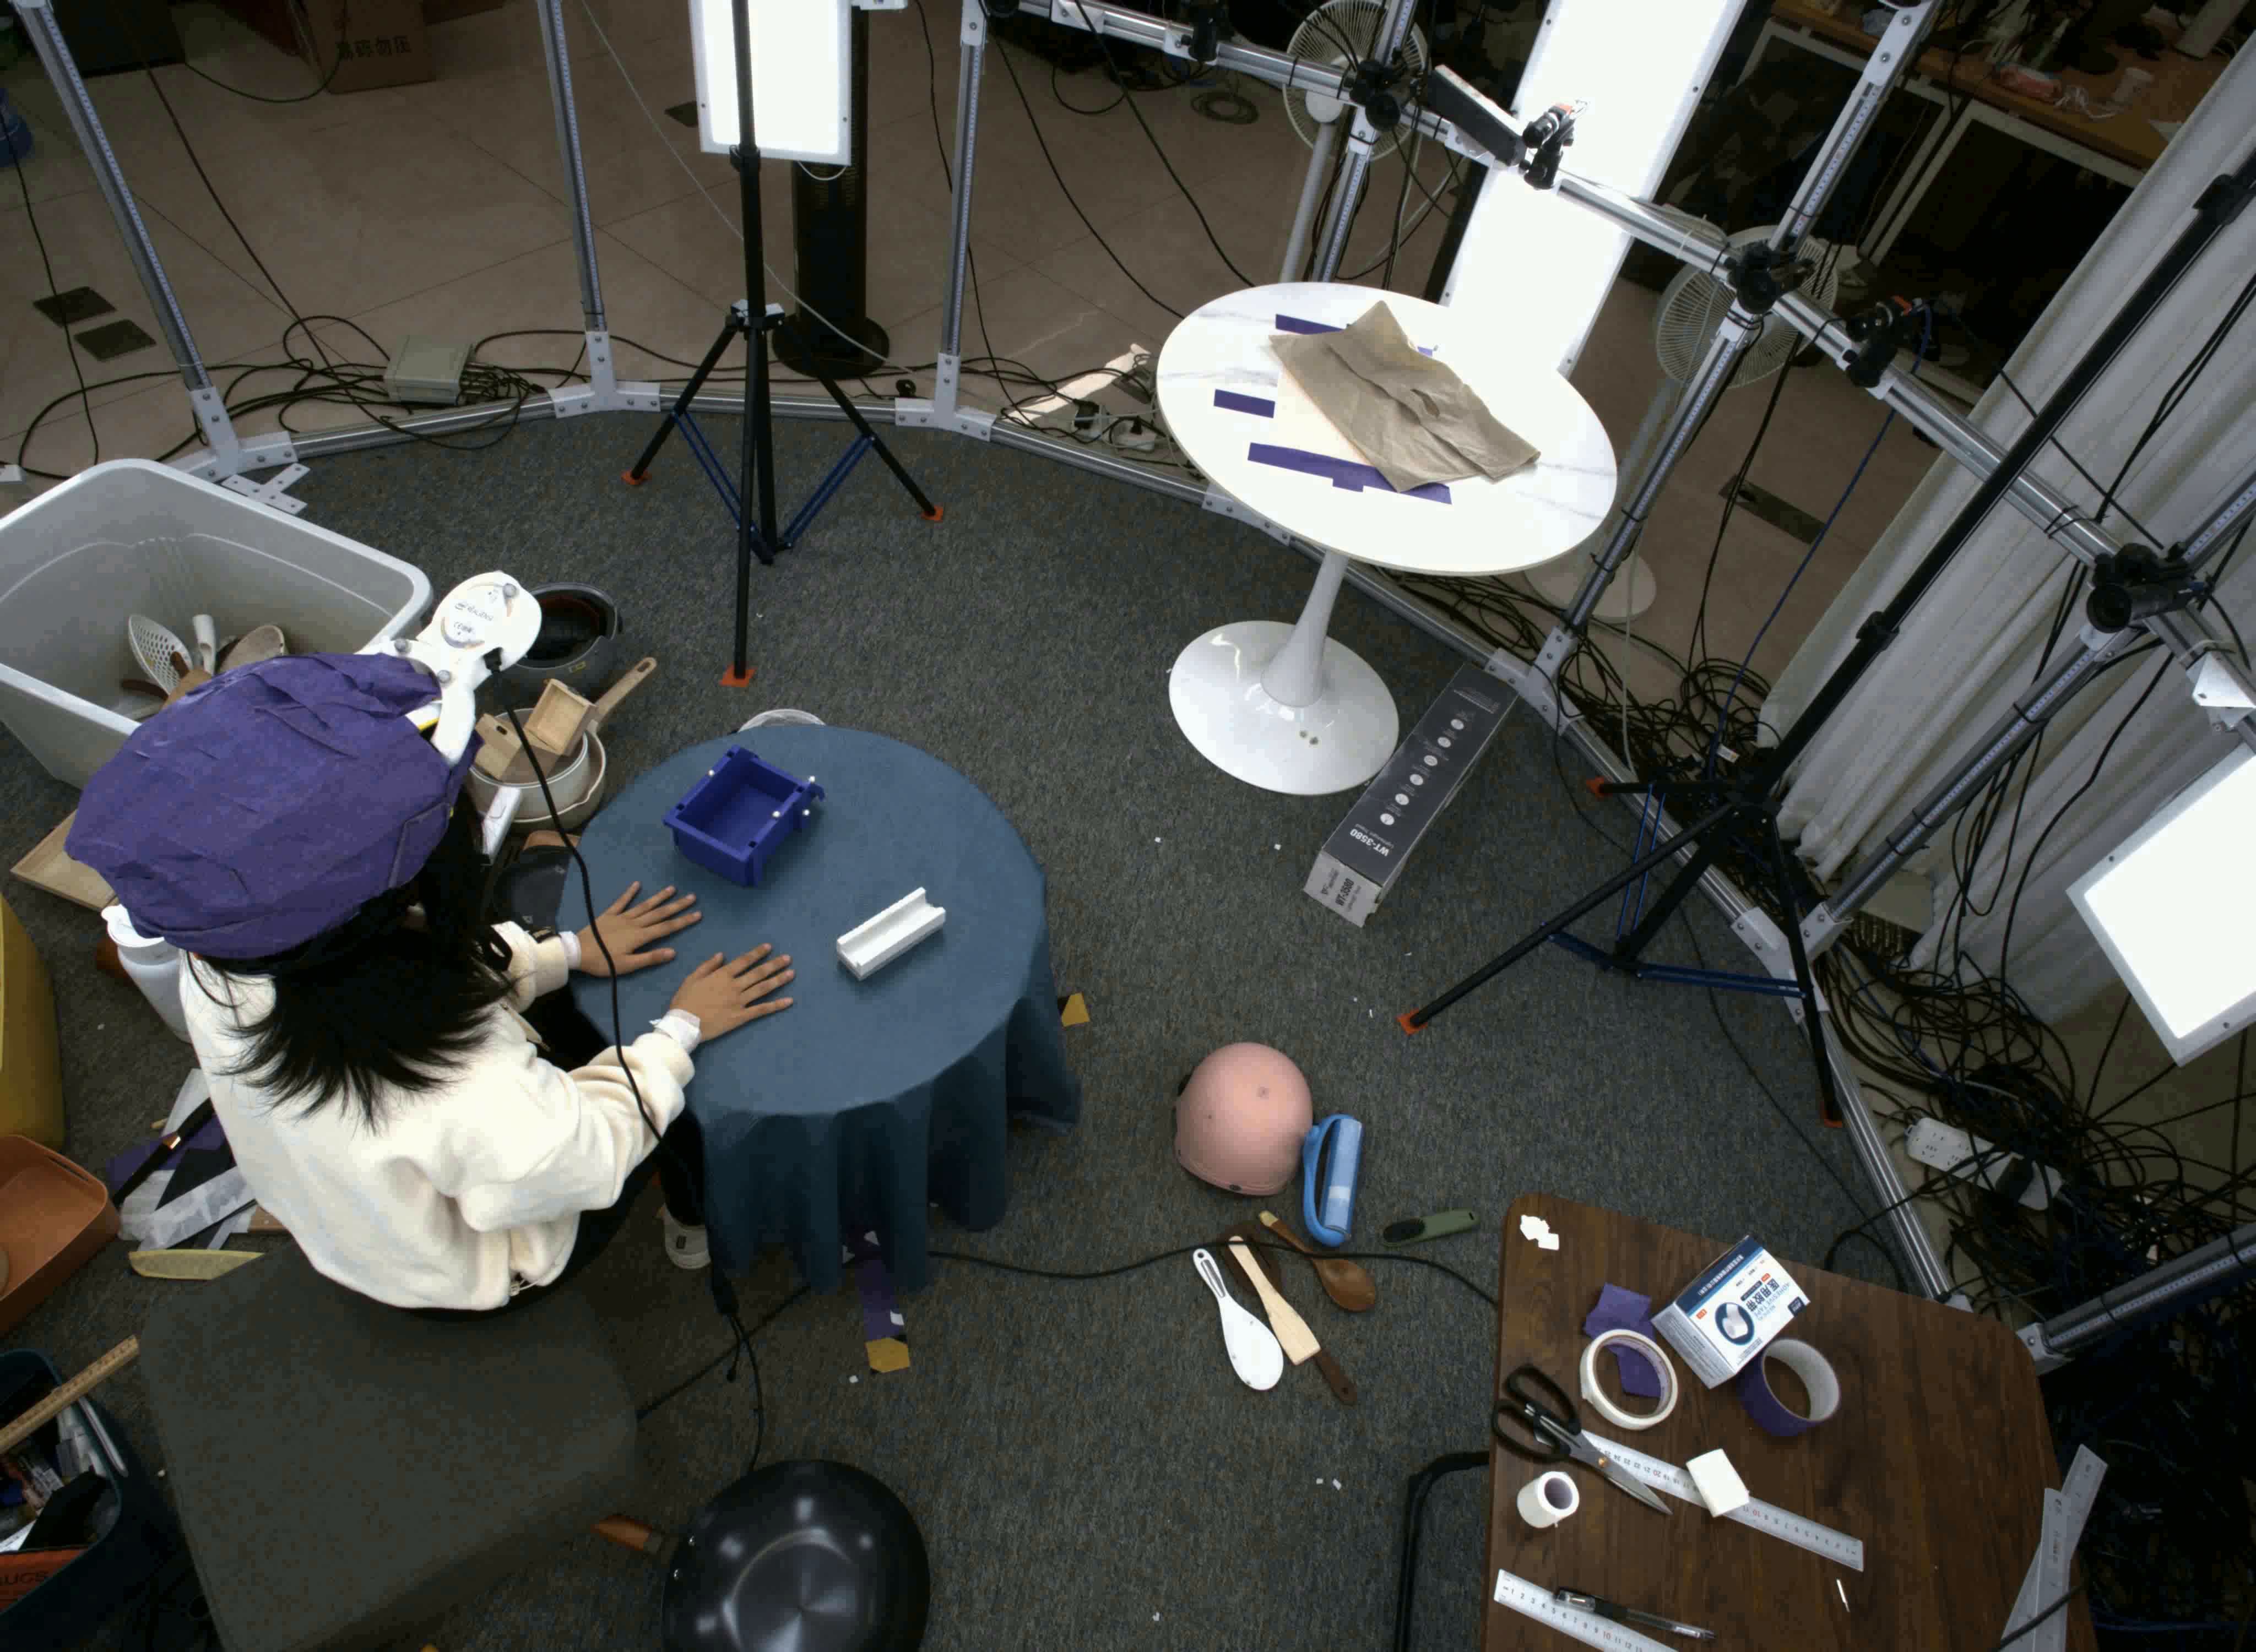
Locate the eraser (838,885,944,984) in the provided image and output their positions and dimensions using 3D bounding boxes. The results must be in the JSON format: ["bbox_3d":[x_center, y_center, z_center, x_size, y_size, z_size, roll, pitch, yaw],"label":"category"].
[{"bbox_3d":[-0.294,0.134,1.622,0.049,0.047,0.134,41,53,17],"label":"eraser"}]

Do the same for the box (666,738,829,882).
[{"bbox_3d":[-0.490,-0.027,1.669,0.122,0.083,0.178,27,54,8],"label":"box"}]
